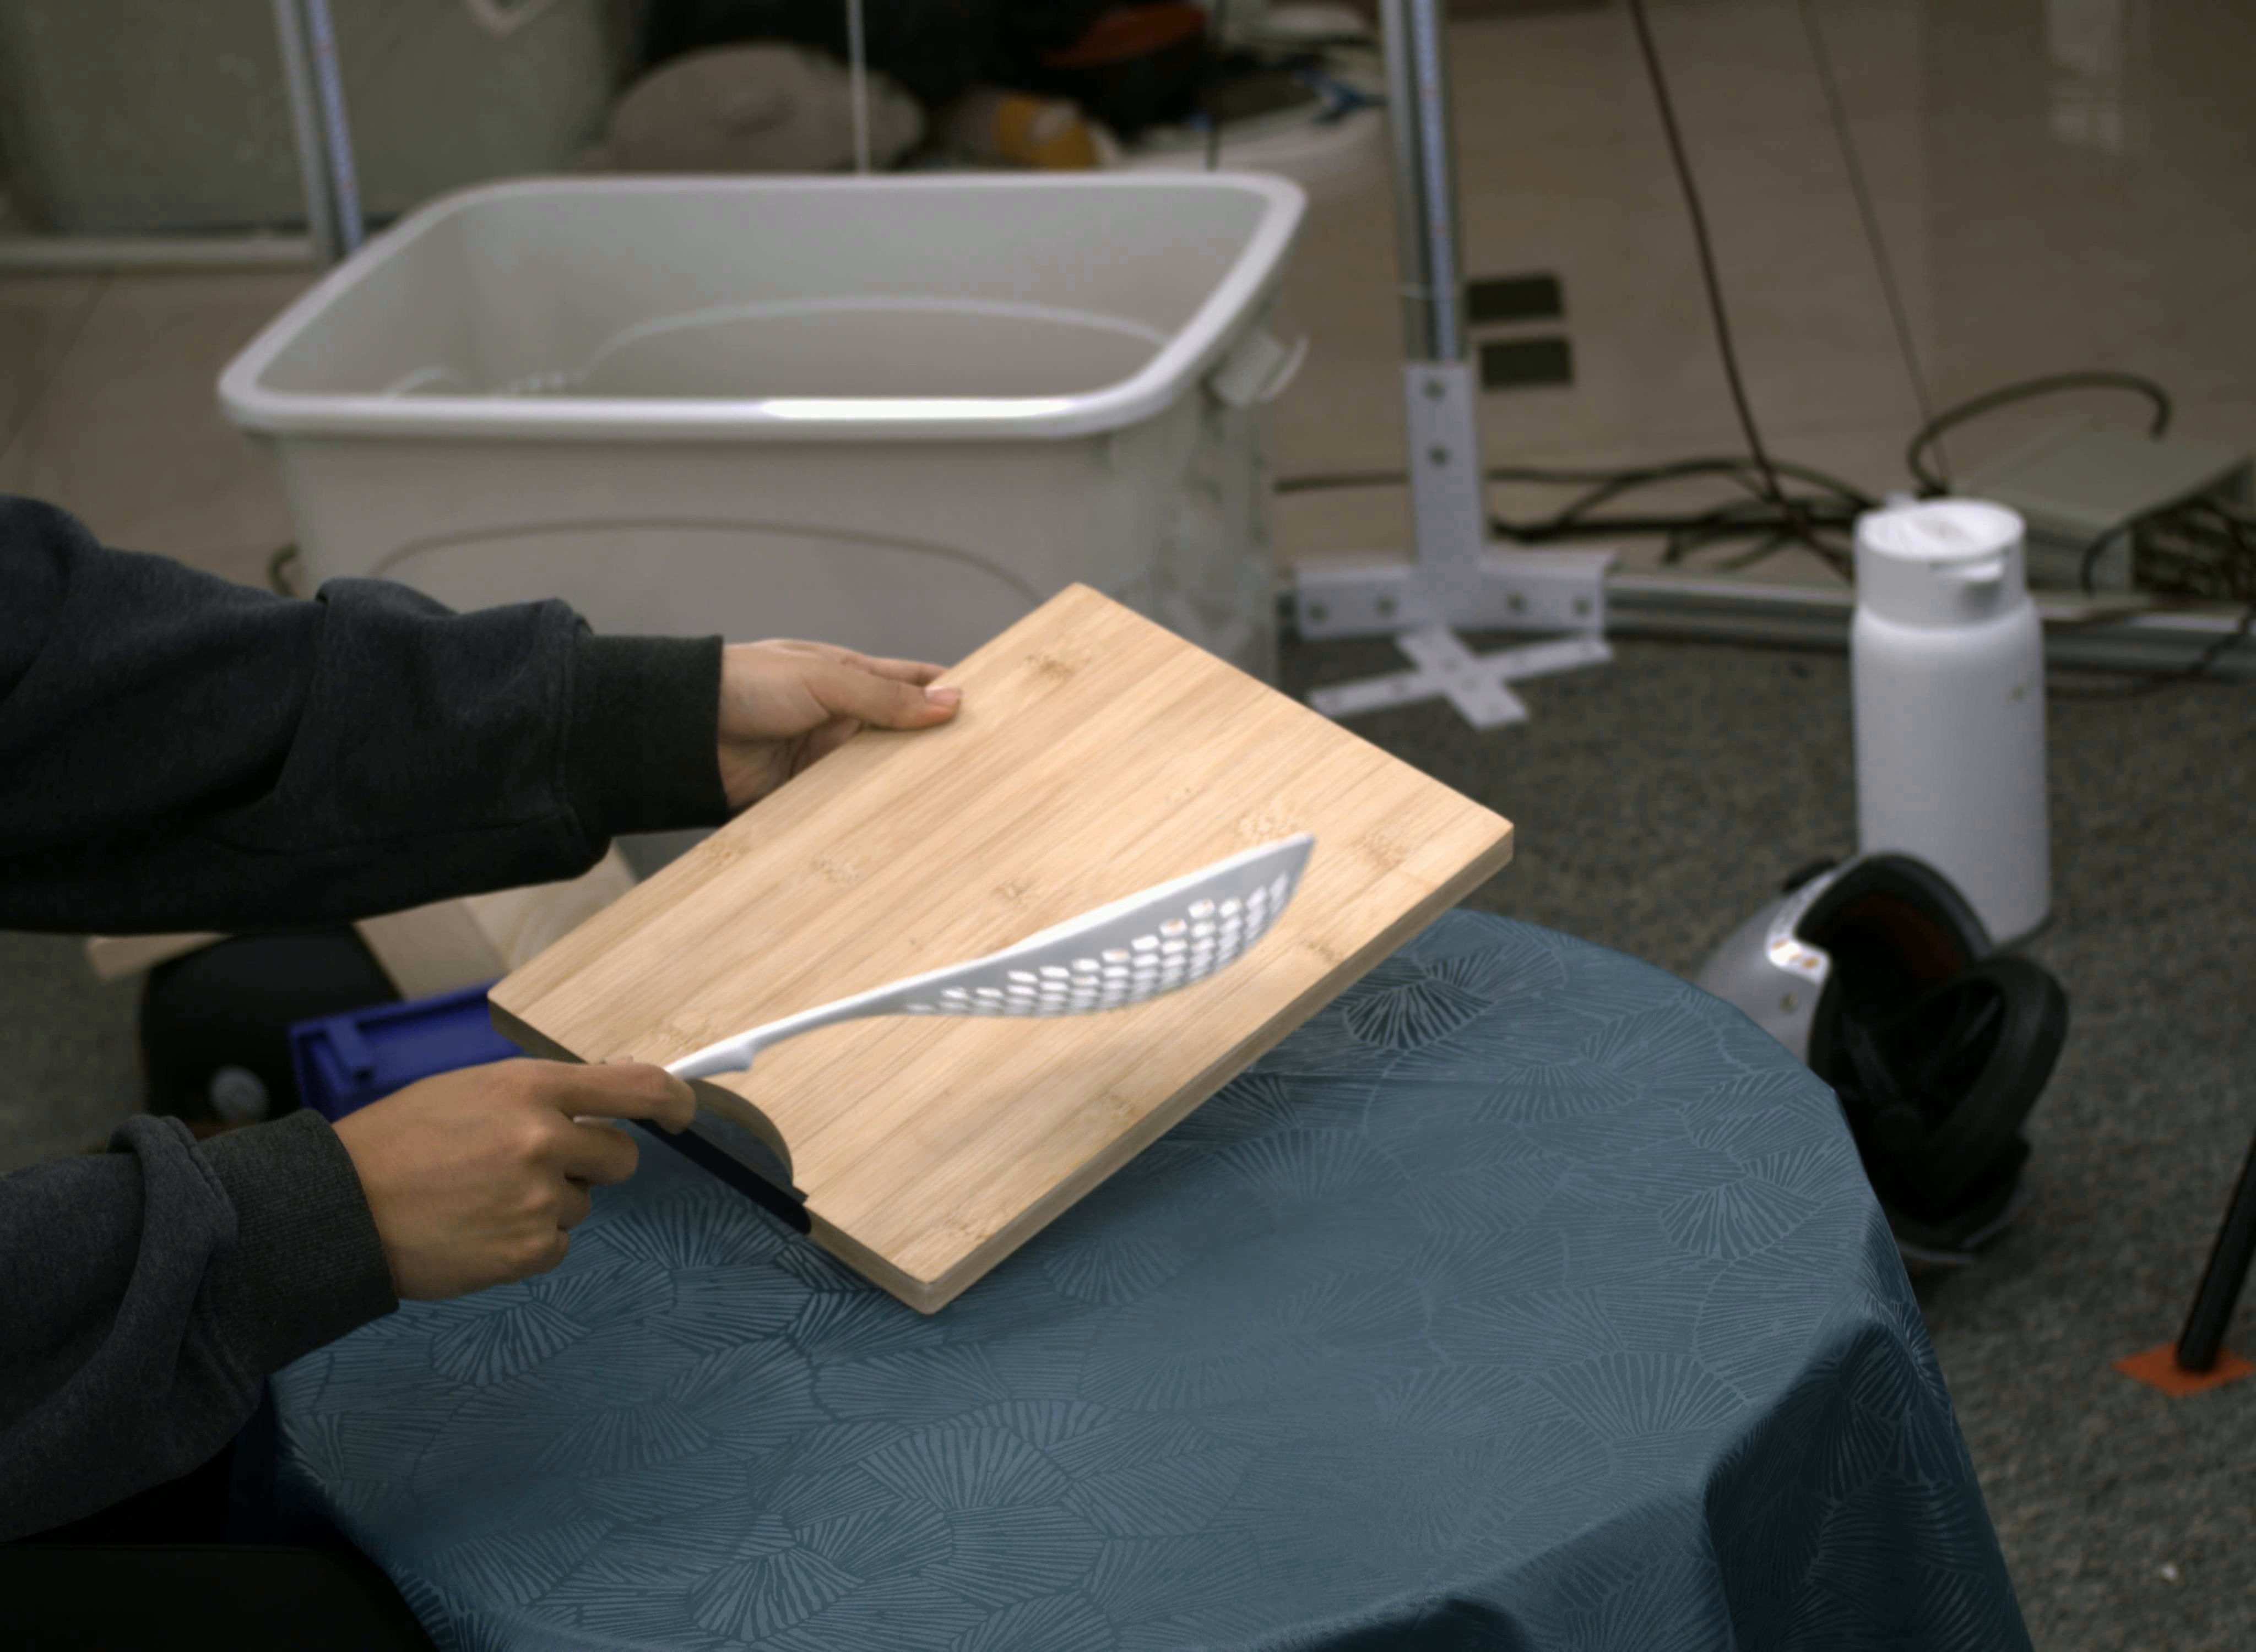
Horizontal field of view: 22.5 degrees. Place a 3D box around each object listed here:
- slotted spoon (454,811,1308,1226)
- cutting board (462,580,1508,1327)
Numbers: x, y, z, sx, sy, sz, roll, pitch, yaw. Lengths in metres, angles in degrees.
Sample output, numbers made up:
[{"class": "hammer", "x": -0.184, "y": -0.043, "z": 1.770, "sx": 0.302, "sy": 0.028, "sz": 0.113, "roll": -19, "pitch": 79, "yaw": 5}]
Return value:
[{"class": "slotted spoon", "x": -0.089, "y": 0.068, "z": 2.045, "sx": 0.346, "sy": 0.050, "sz": 0.137, "roll": -17, "pitch": -1, "yaw": -20}, {"class": "cutting board", "x": -0.051, "y": 0.041, "z": 2.220, "sx": 0.248, "sy": 0.024, "sz": 0.345, "roll": 30, "pitch": 51, "yaw": 31}]
